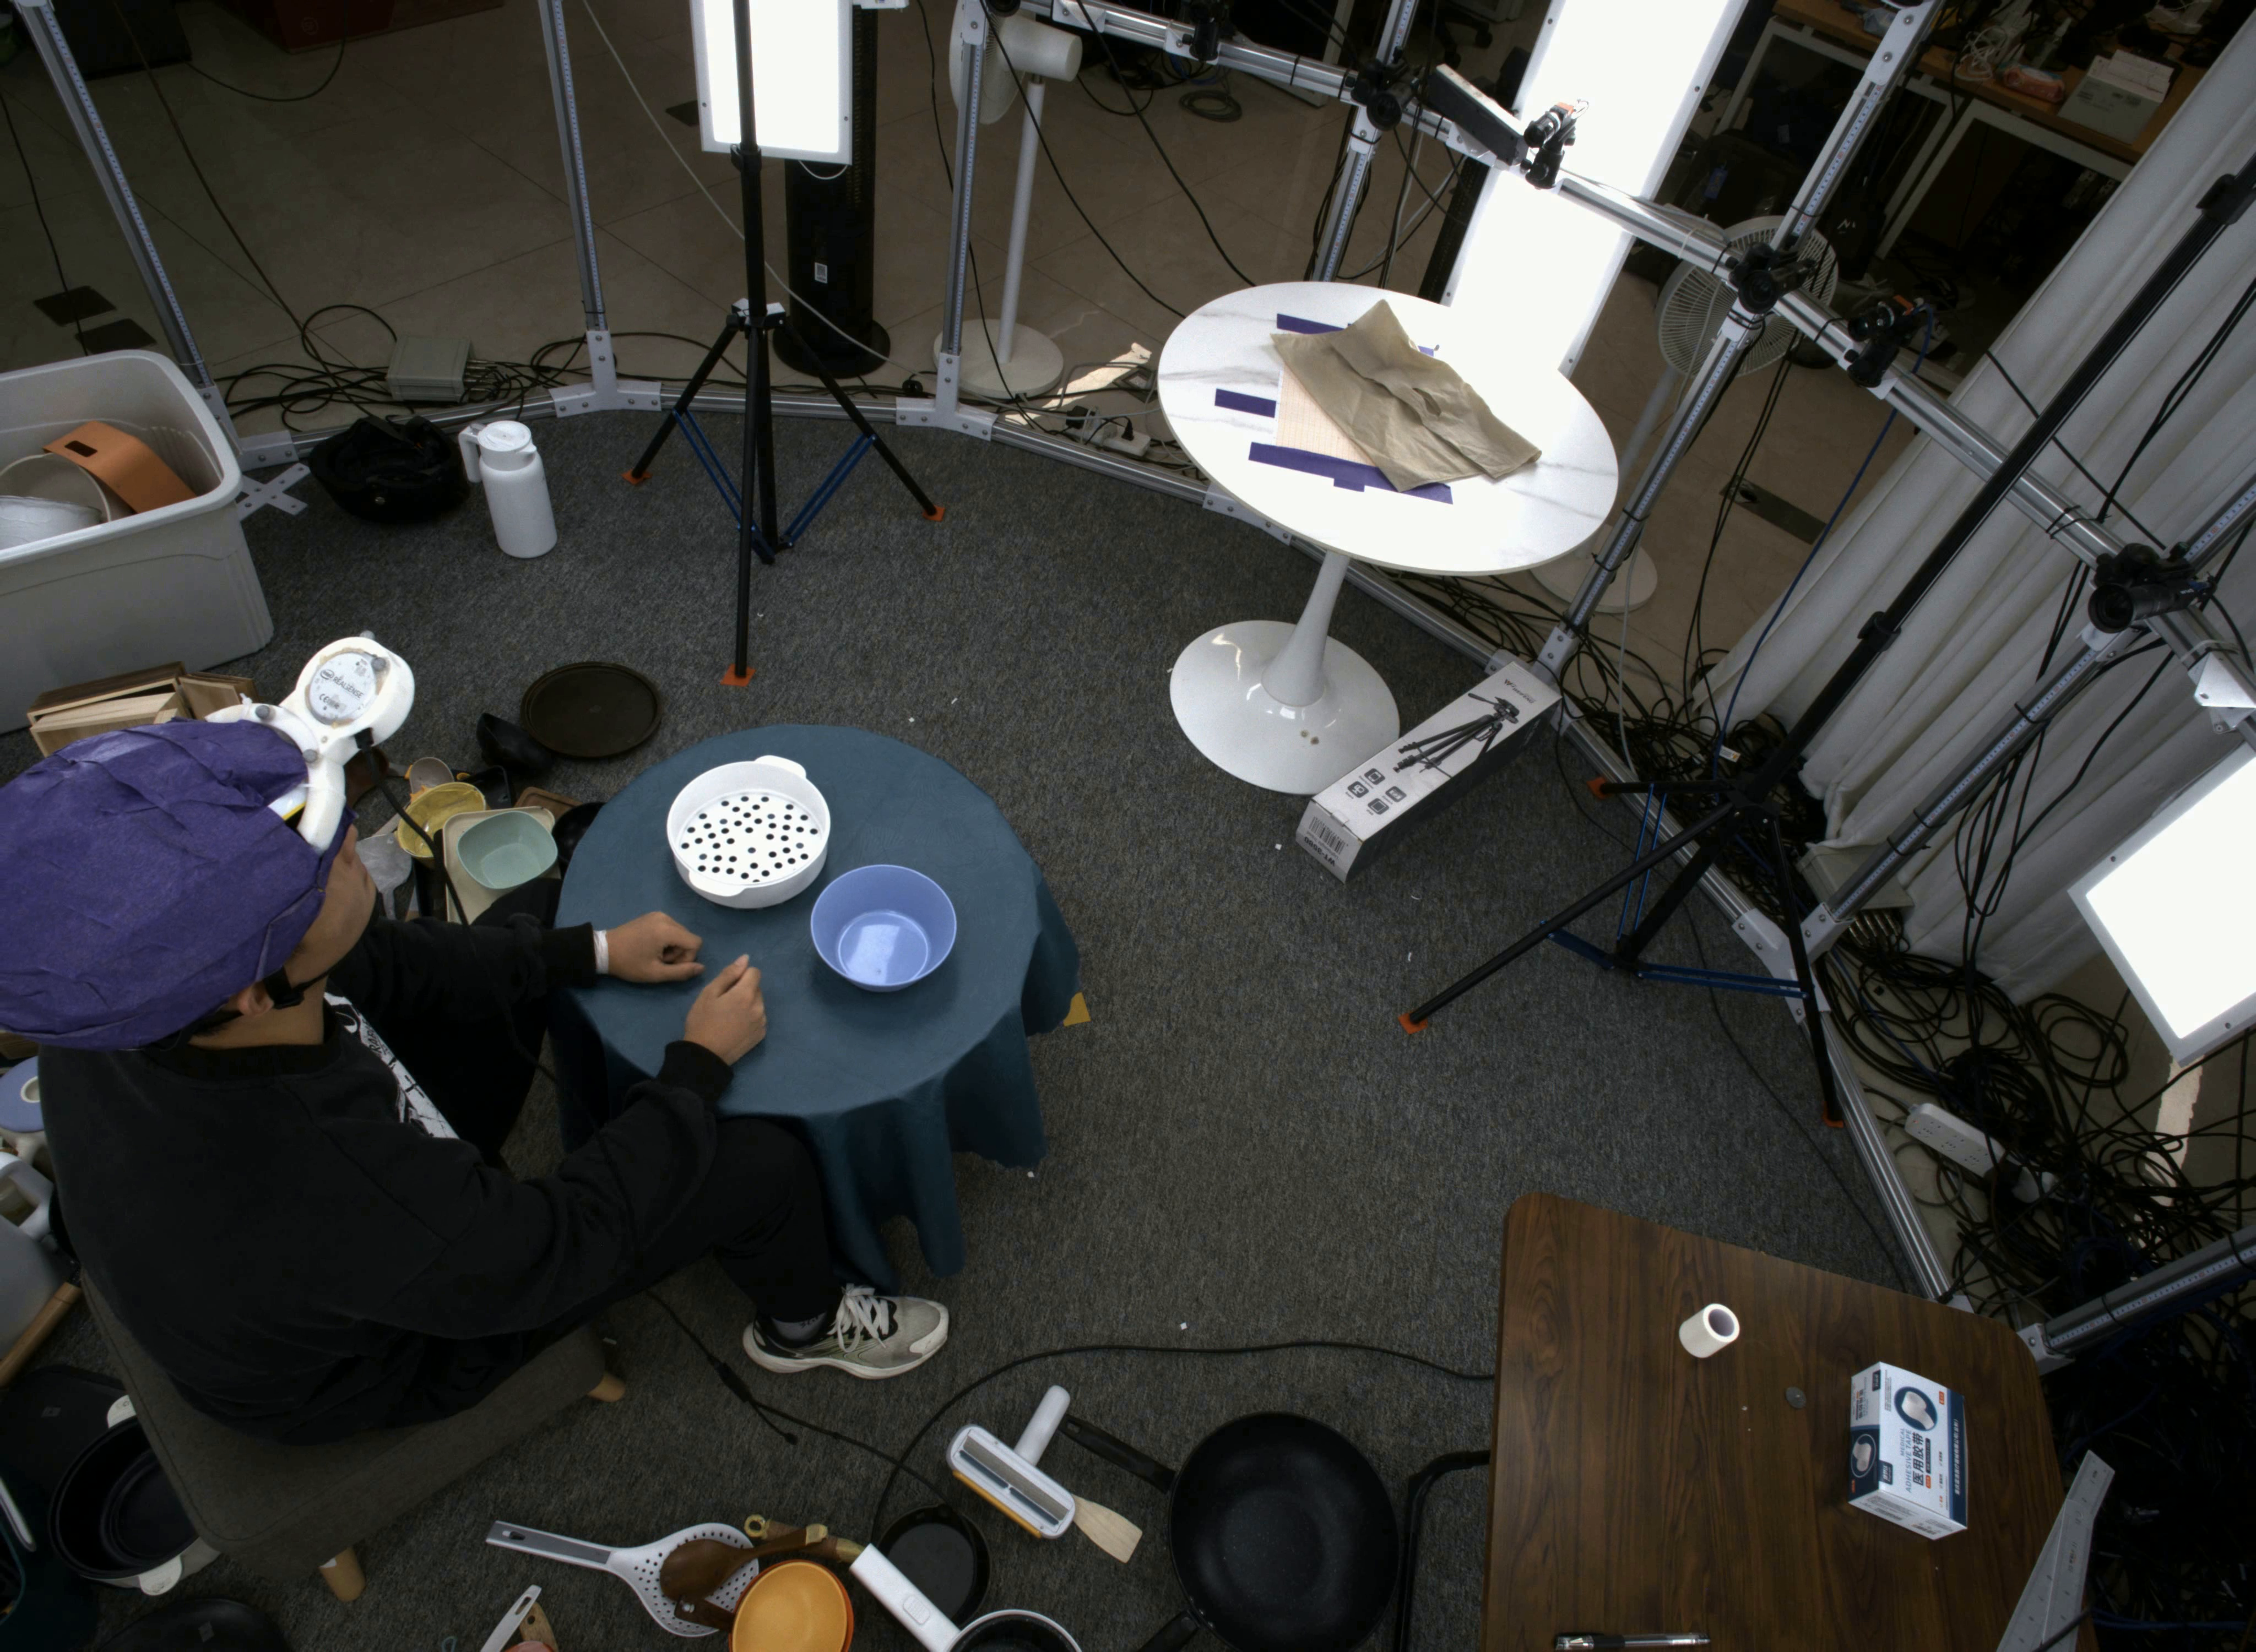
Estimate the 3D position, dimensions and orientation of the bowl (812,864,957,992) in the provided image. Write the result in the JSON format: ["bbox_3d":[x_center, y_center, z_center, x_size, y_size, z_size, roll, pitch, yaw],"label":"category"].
[{"bbox_3d":[-0.301,0.136,1.614,0.175,0.072,0.173,7,52,-7],"label":"bowl"}]

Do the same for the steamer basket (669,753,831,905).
[{"bbox_3d":[-0.484,0.008,1.663,0.200,0.070,0.228,17,49,-1],"label":"steamer basket"}]
